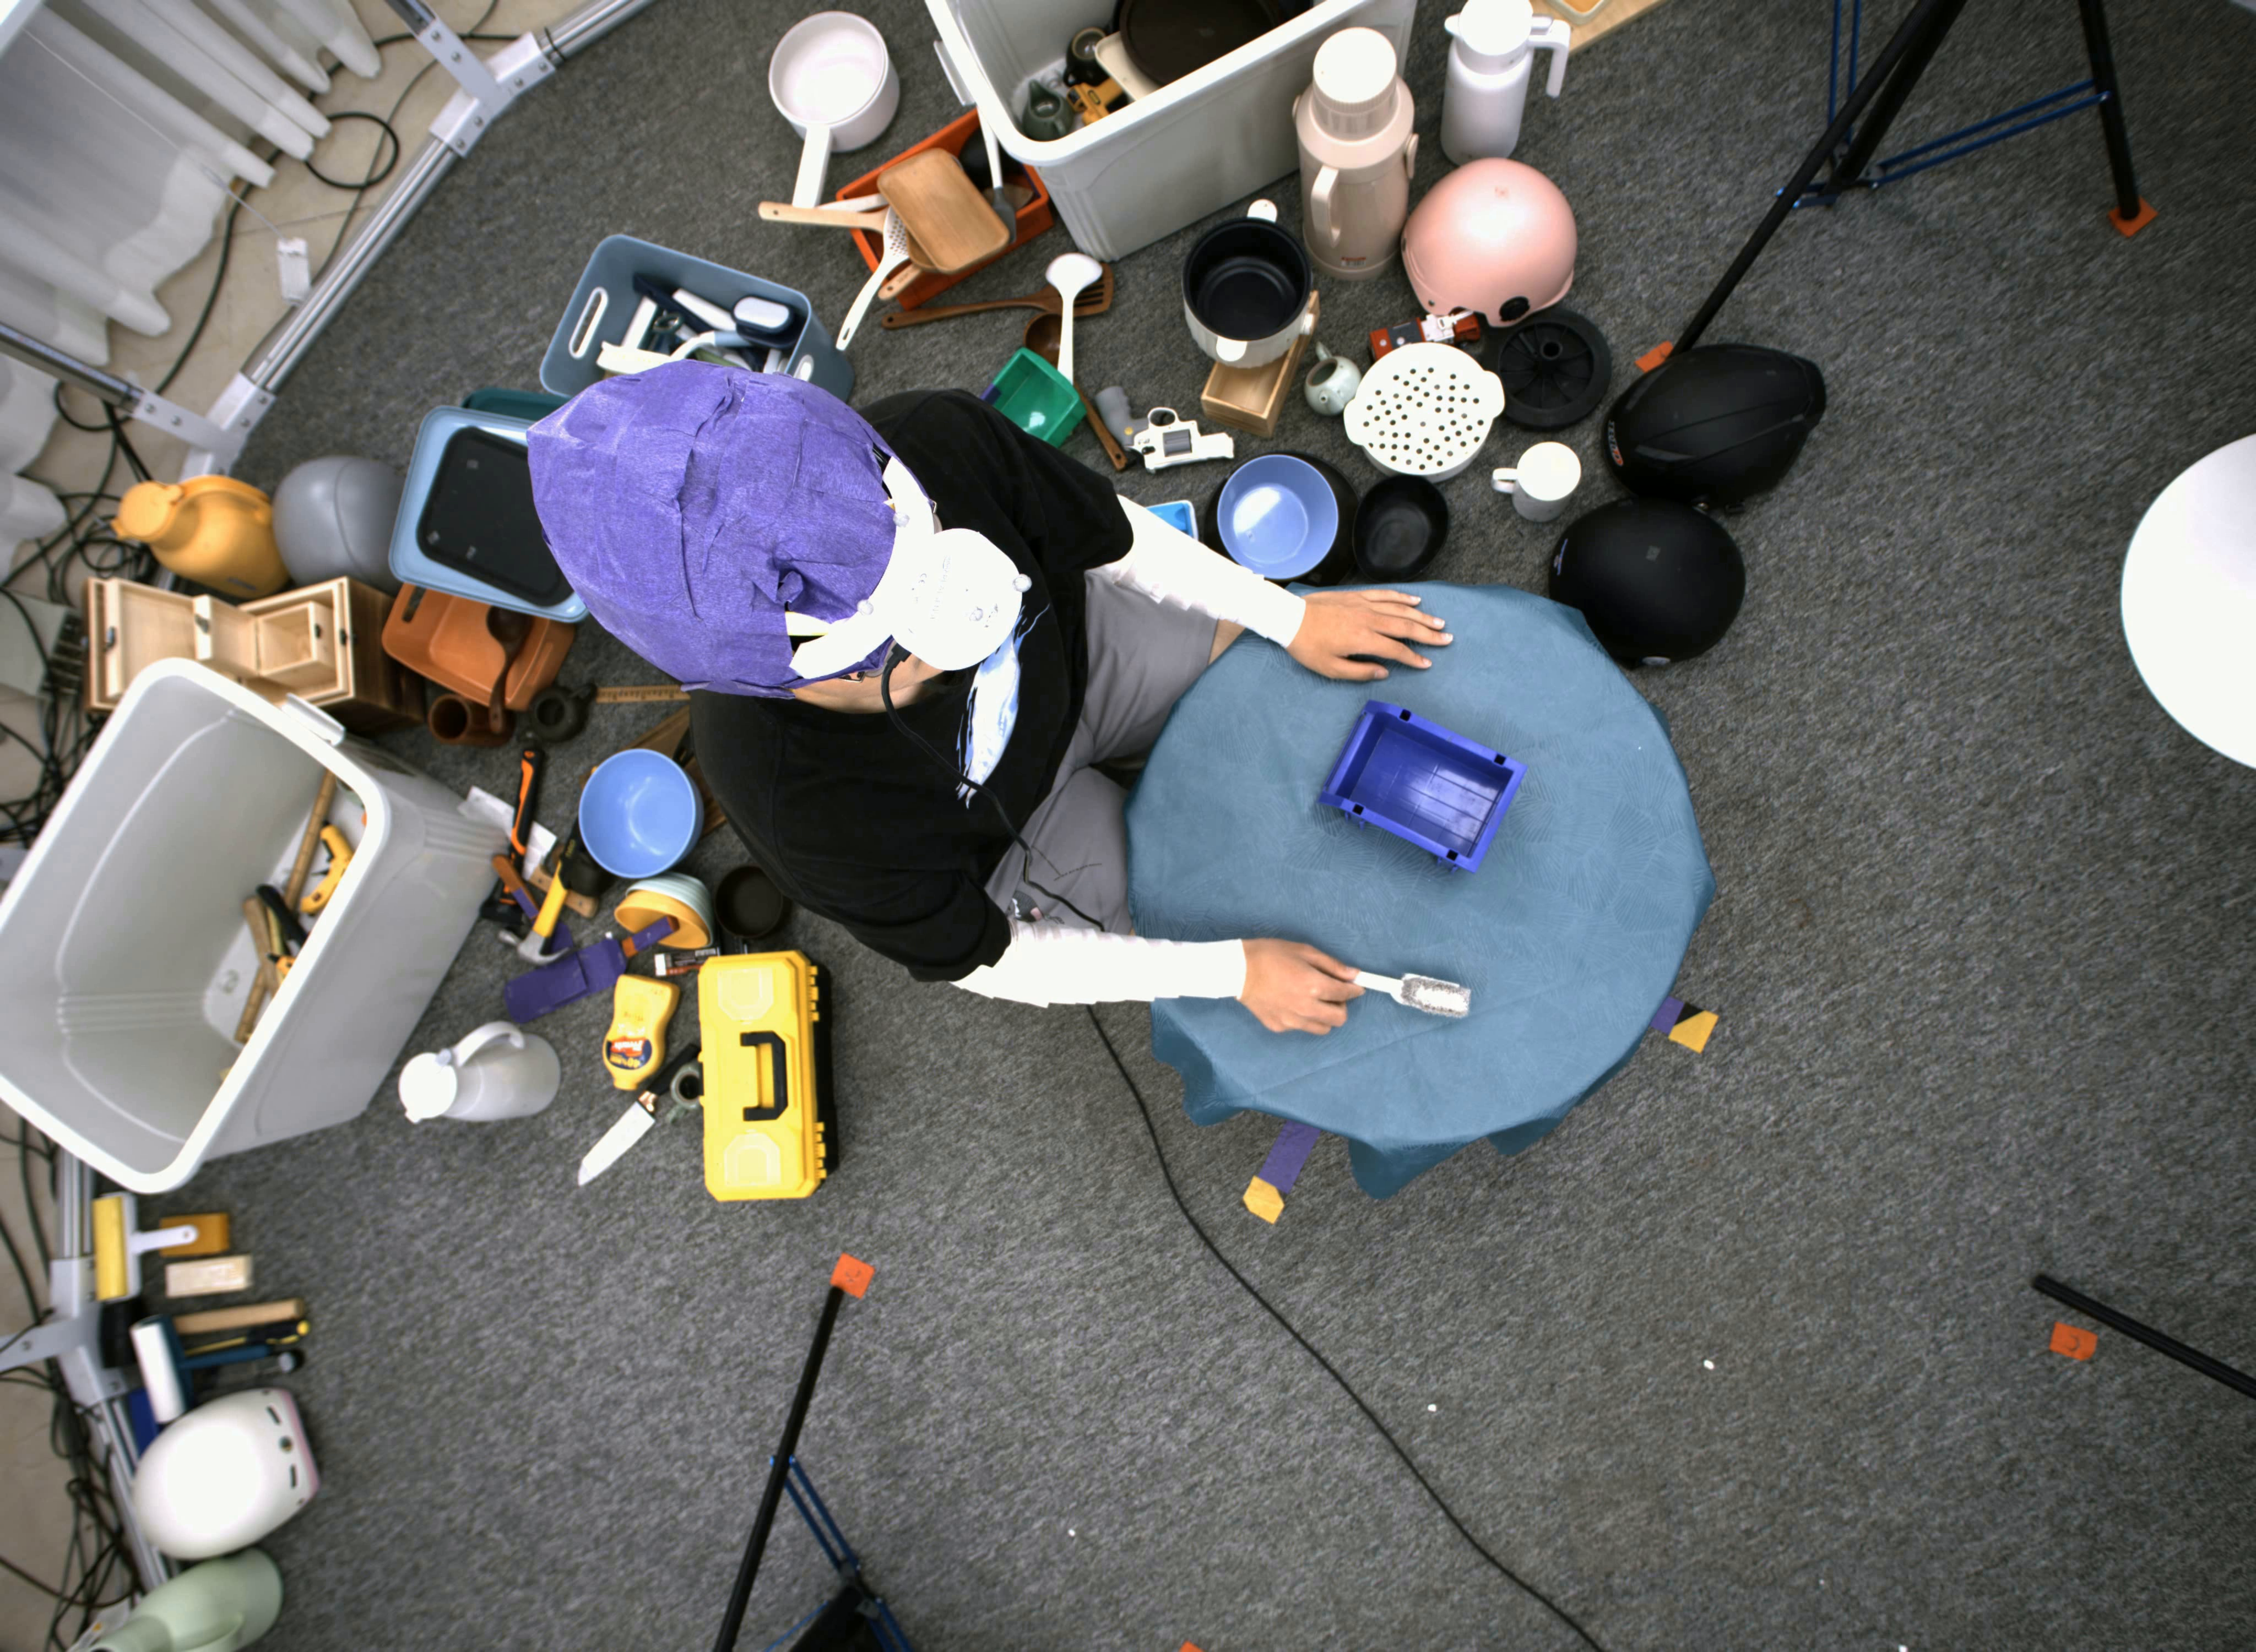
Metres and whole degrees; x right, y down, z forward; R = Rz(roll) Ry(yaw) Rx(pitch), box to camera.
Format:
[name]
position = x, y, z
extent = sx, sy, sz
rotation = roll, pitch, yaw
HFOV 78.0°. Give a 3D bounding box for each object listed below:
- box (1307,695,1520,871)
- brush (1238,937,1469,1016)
[box]
position = 0.290, -0.045, 1.420
extent = 0.179, 0.082, 0.124
rotation = 28, 92, 10
[brush]
position = 0.231, 0.152, 1.436
extent = 0.244, 0.050, 0.034
rotation = 14, 87, 10
